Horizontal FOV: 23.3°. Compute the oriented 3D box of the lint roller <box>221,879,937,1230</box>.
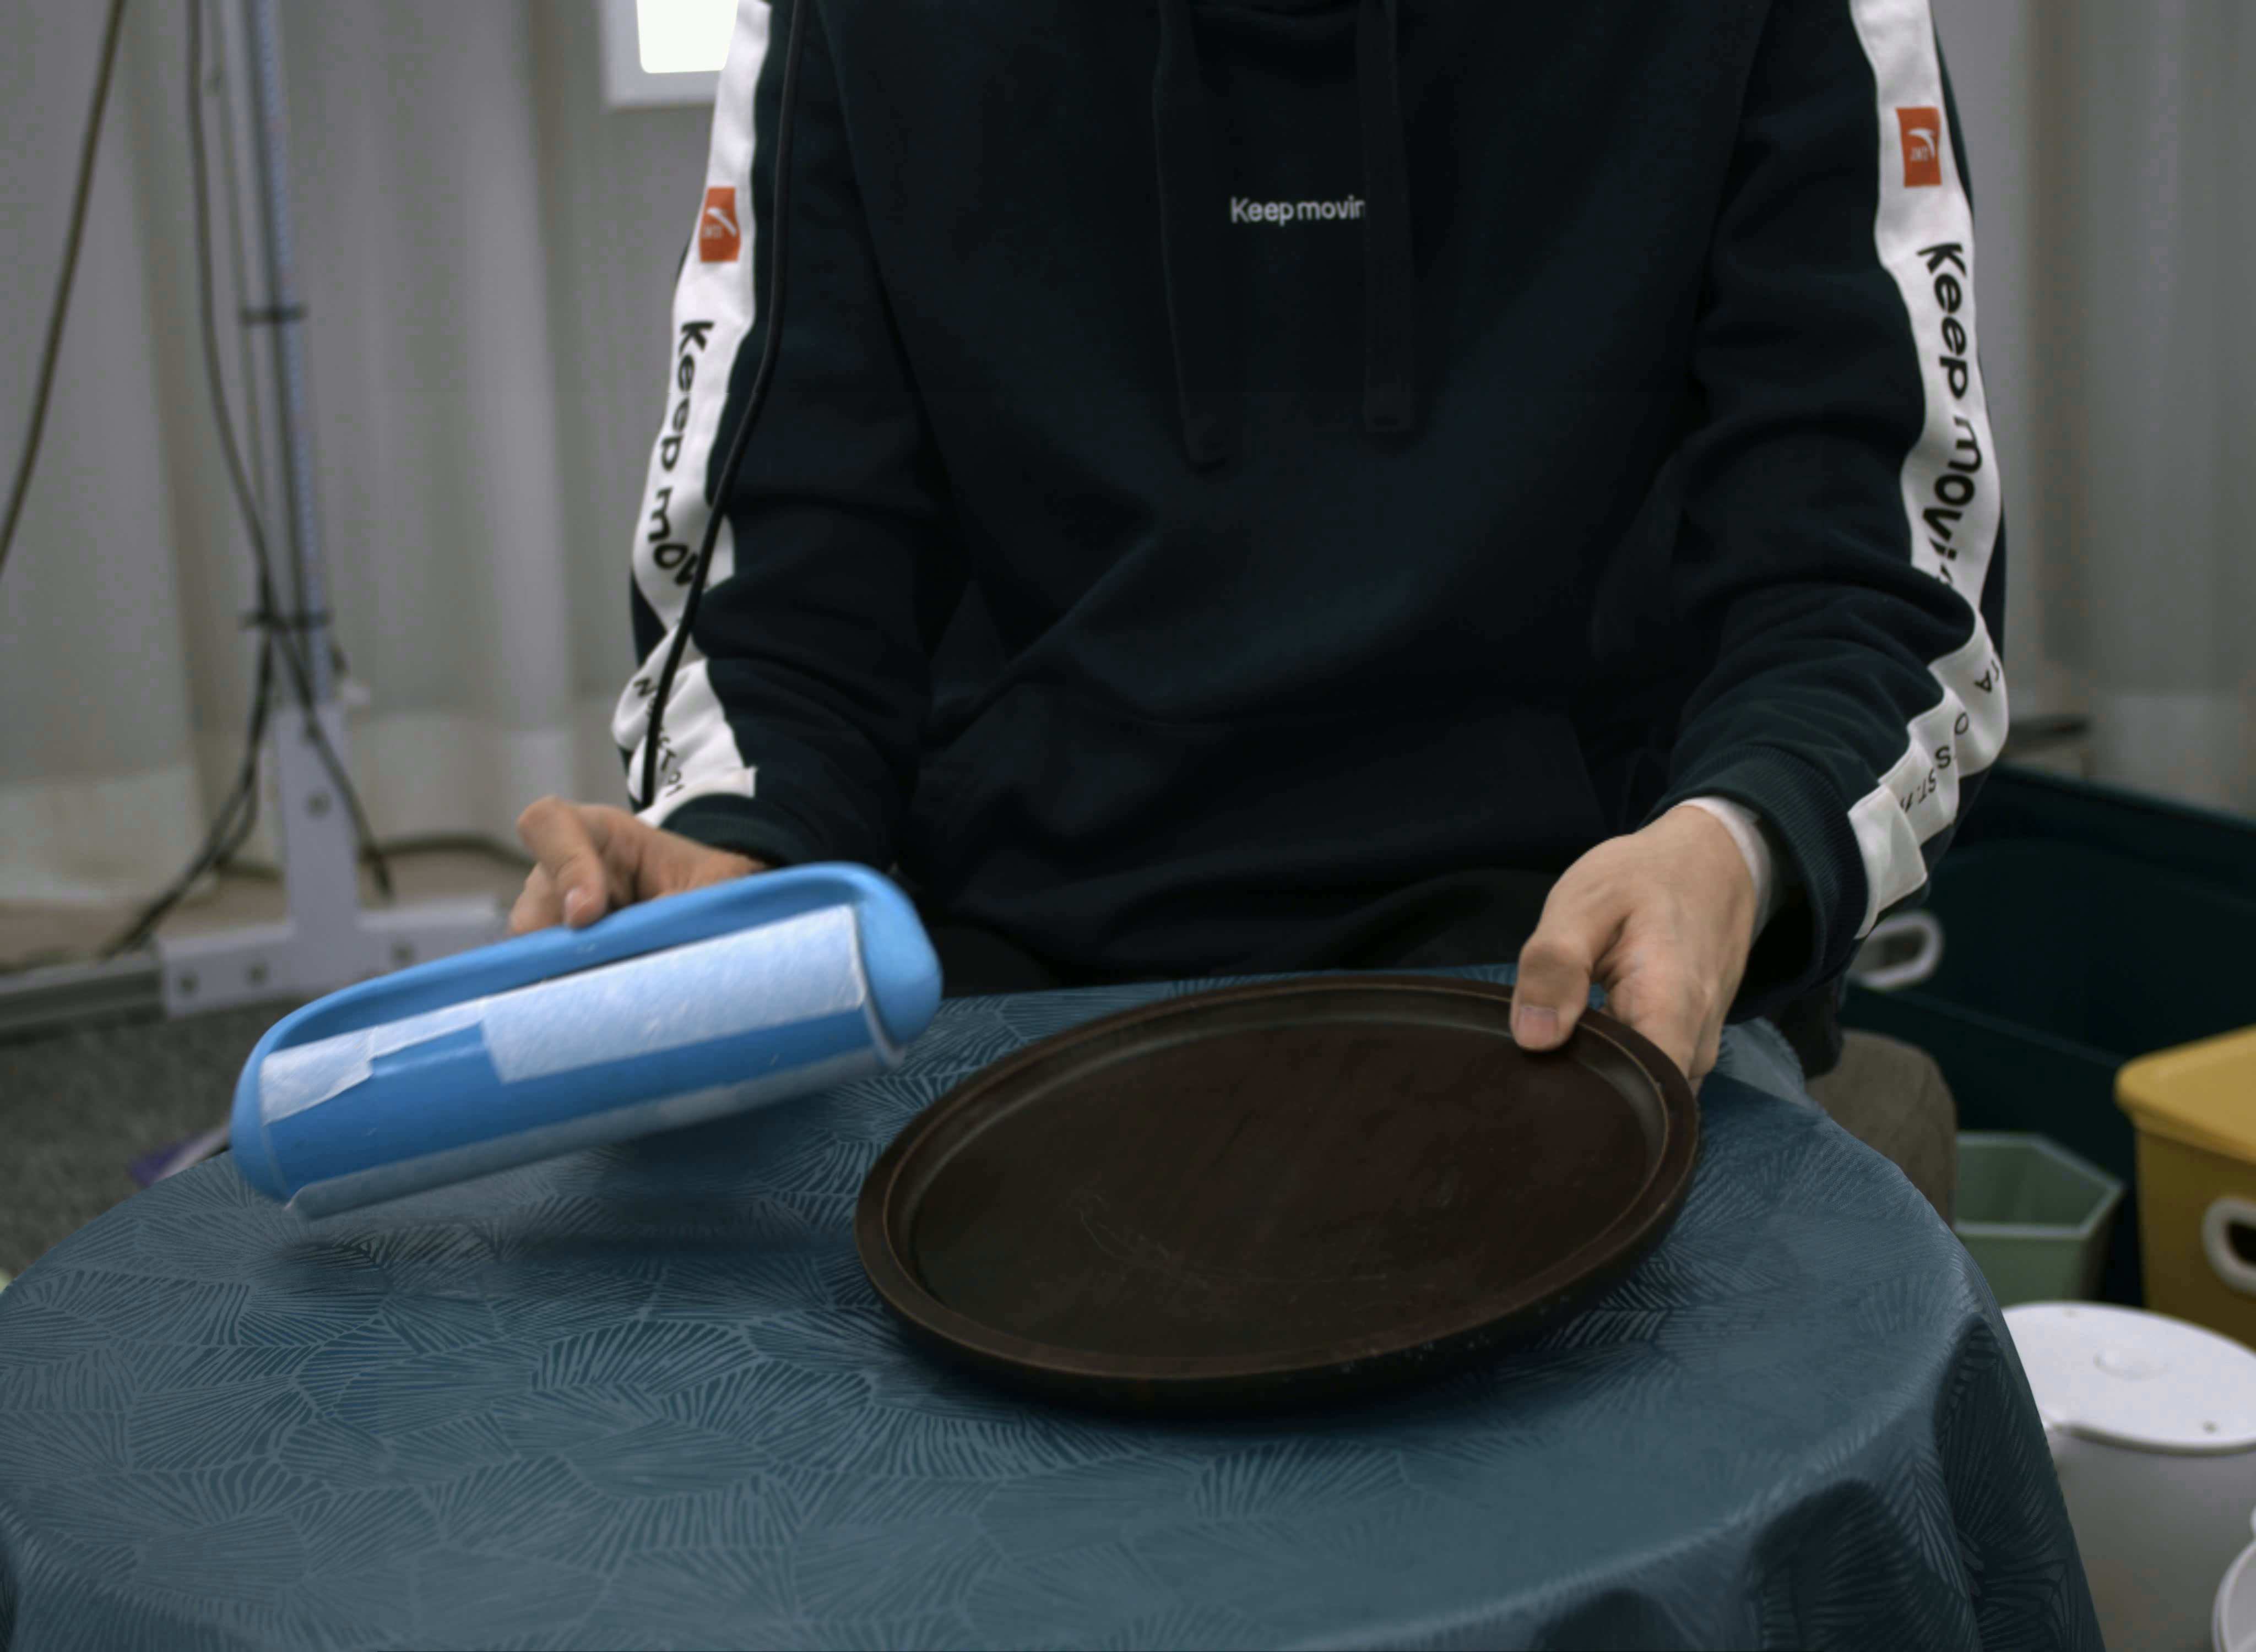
[{"bbox_3d":[-0.166,0.063,1.733,0.228,0.068,0.181,-16,10,6],"label":"lint roller"}]

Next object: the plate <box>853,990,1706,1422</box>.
[{"bbox_3d":[0.045,0.109,1.614,0.254,0.029,0.257,-8,23,3],"label":"plate"}]
